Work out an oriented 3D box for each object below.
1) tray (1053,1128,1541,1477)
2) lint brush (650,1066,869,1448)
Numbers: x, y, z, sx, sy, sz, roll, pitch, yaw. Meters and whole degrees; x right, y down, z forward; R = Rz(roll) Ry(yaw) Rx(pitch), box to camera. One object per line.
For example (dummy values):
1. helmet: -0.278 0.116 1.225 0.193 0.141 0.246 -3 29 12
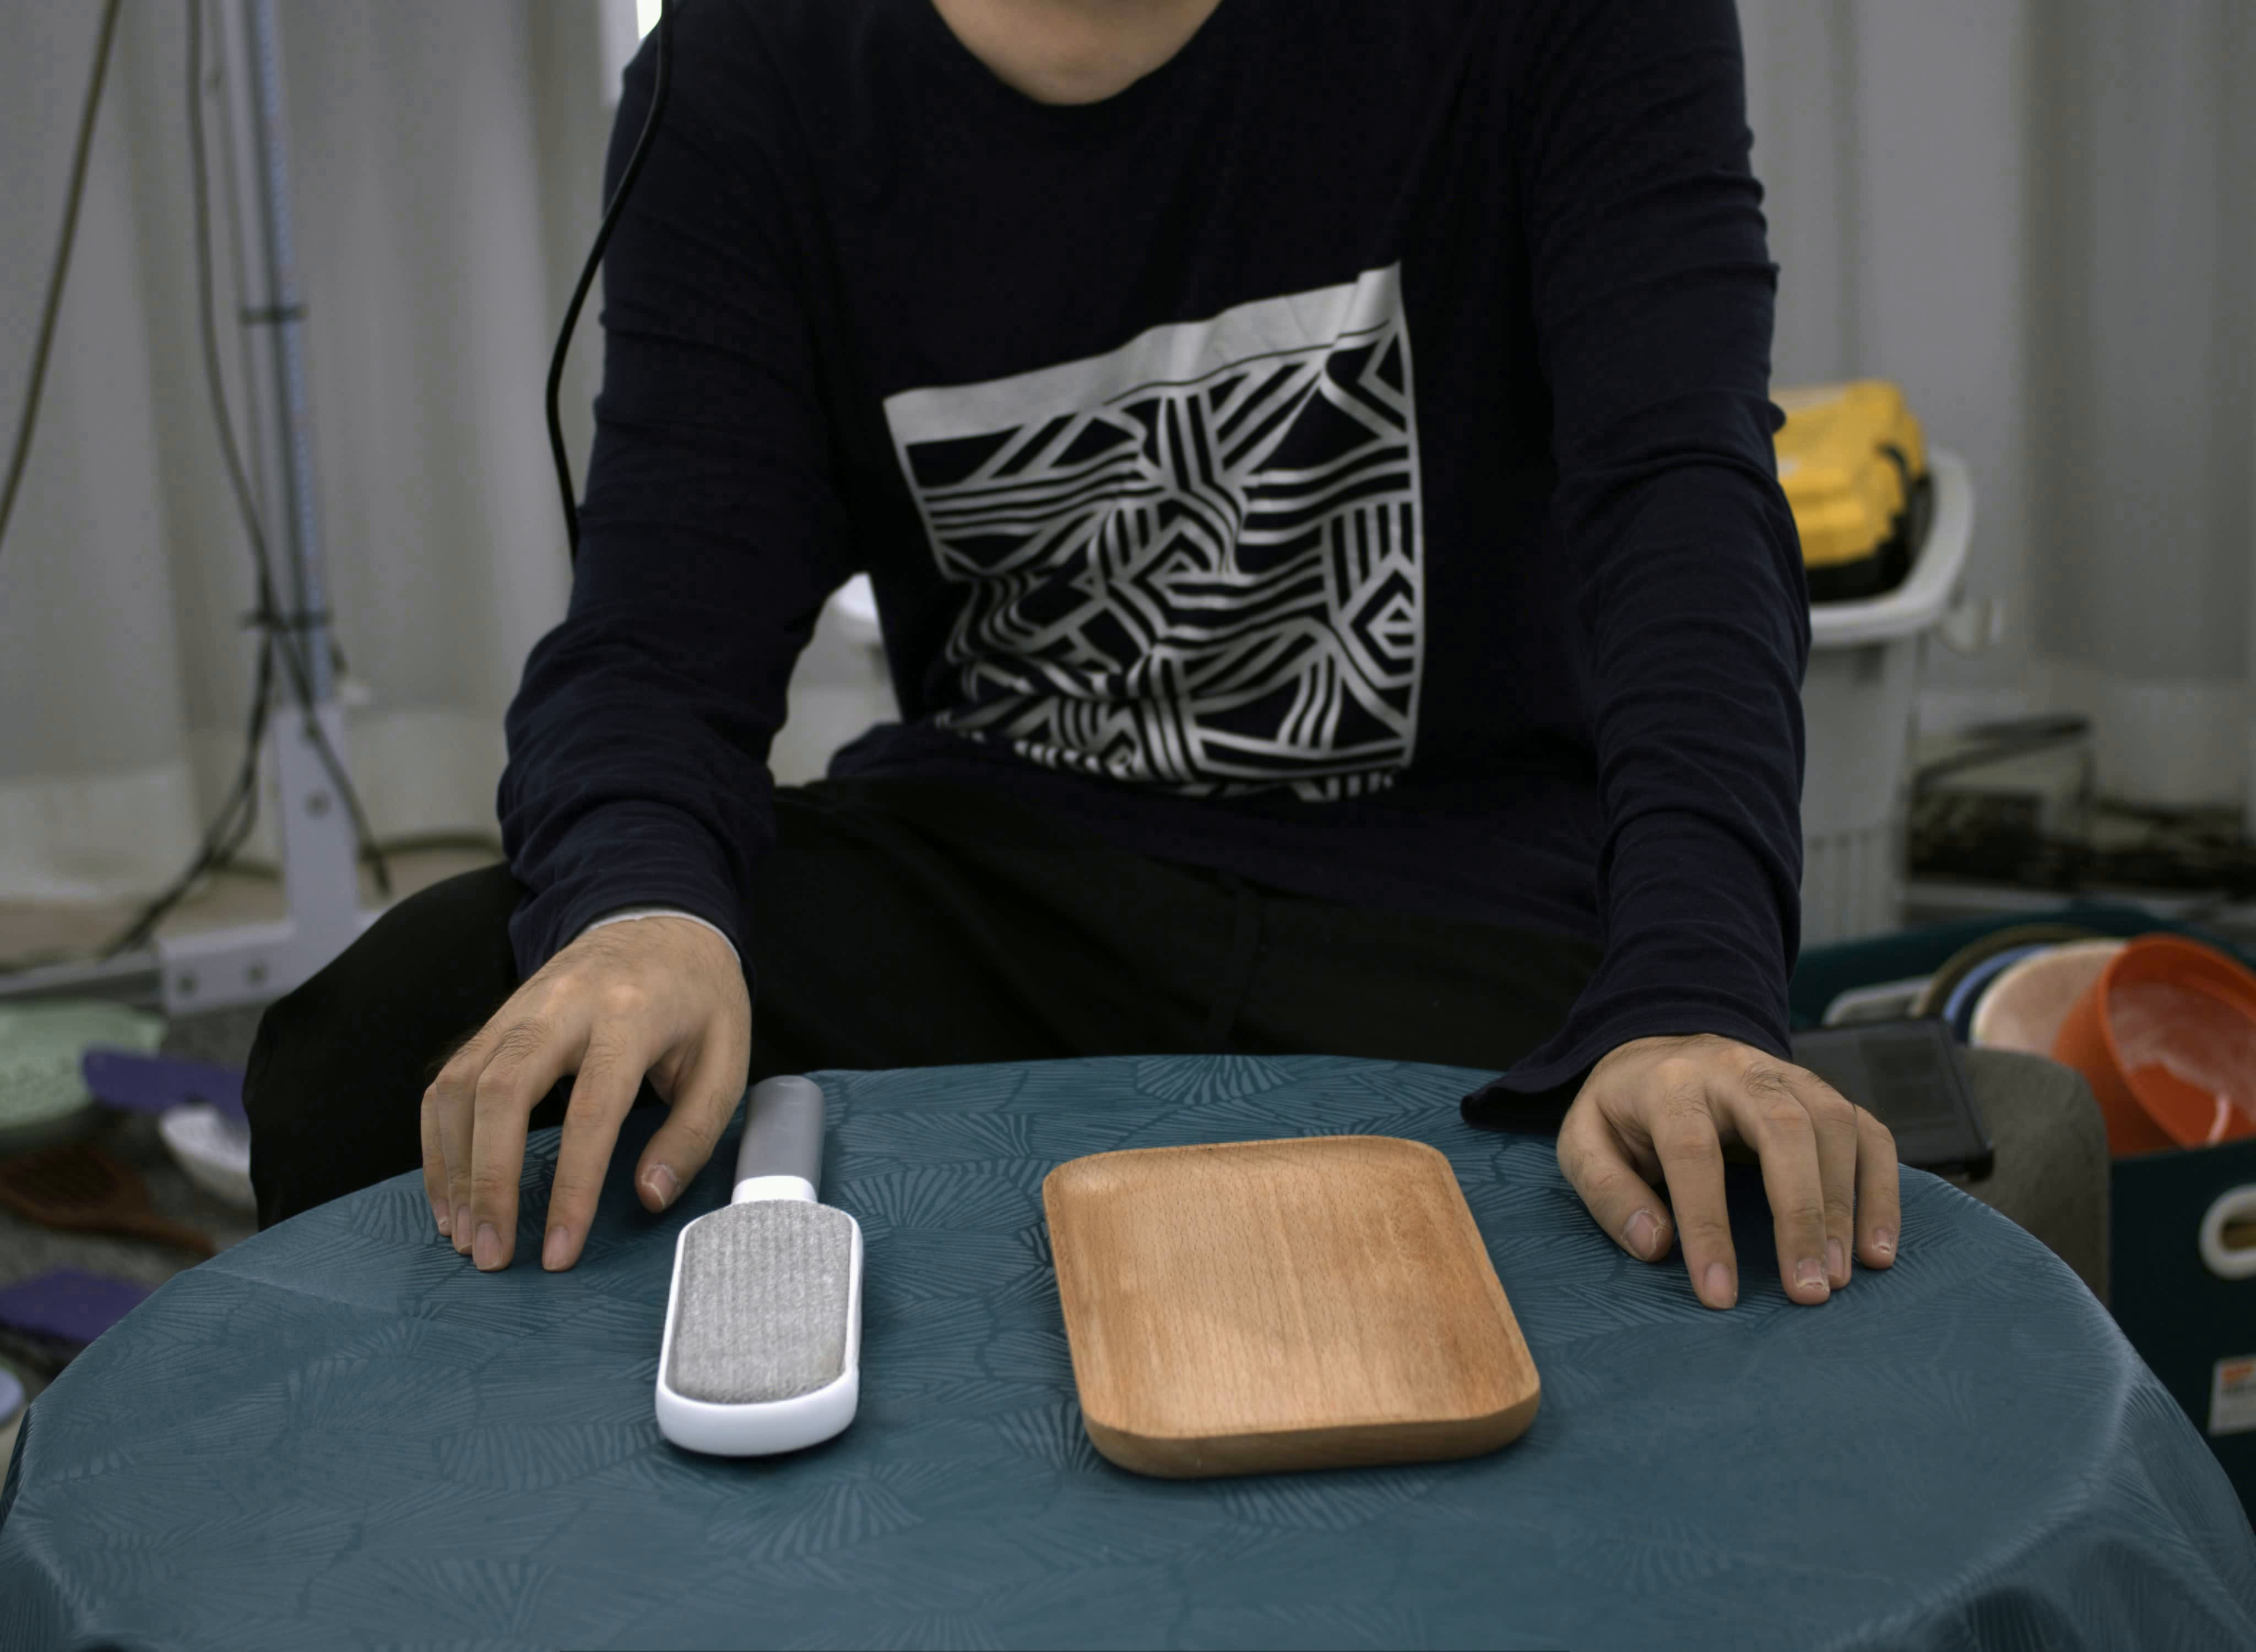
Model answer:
1. tray: 0.045 0.136 1.594 0.130 0.023 0.252 -1 14 -2
2. lint brush: -0.107 0.125 1.645 0.060 0.021 0.311 -8 15 1
